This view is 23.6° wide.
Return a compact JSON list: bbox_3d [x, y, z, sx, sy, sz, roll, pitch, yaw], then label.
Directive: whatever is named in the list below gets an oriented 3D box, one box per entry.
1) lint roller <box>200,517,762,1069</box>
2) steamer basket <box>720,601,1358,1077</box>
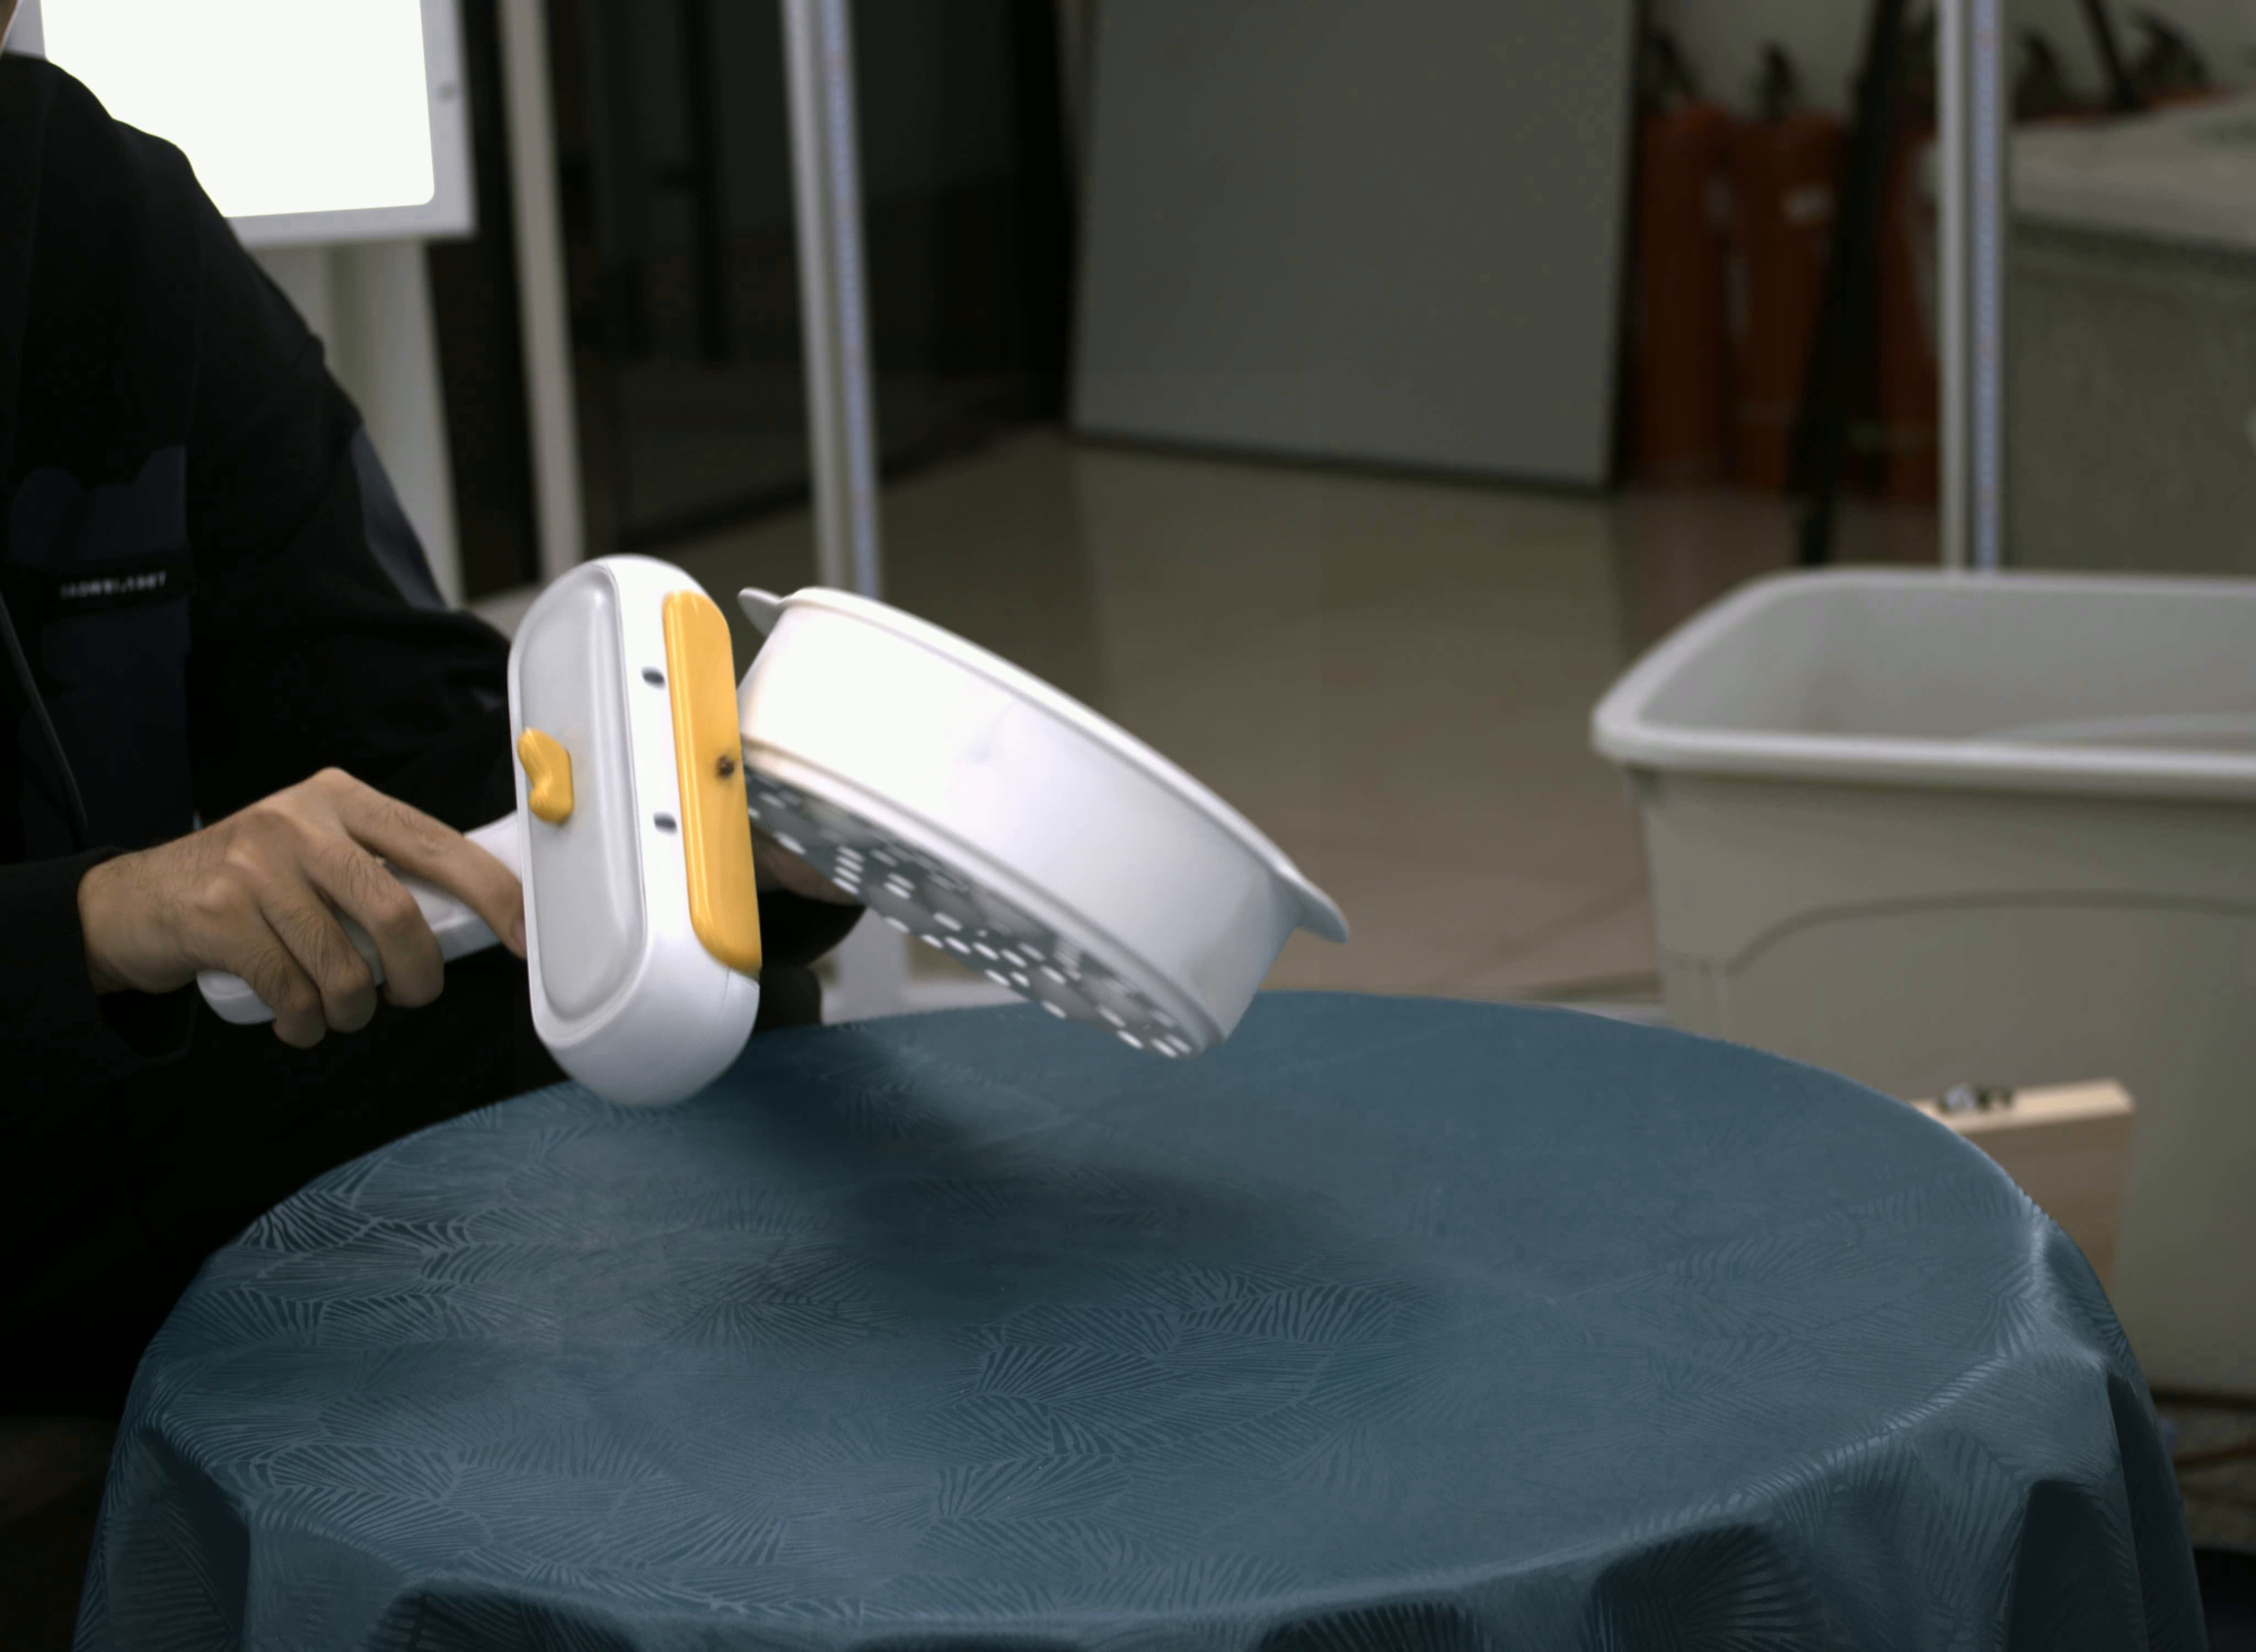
[{"bbox_3d":[-0.204,0.015,1.695,0.193,0.195,0.073,-33,-39,23],"label":"lint roller"},{"bbox_3d":[-0.040,0.008,1.725,0.231,0.069,0.201,26,-12,17],"label":"steamer basket"}]
